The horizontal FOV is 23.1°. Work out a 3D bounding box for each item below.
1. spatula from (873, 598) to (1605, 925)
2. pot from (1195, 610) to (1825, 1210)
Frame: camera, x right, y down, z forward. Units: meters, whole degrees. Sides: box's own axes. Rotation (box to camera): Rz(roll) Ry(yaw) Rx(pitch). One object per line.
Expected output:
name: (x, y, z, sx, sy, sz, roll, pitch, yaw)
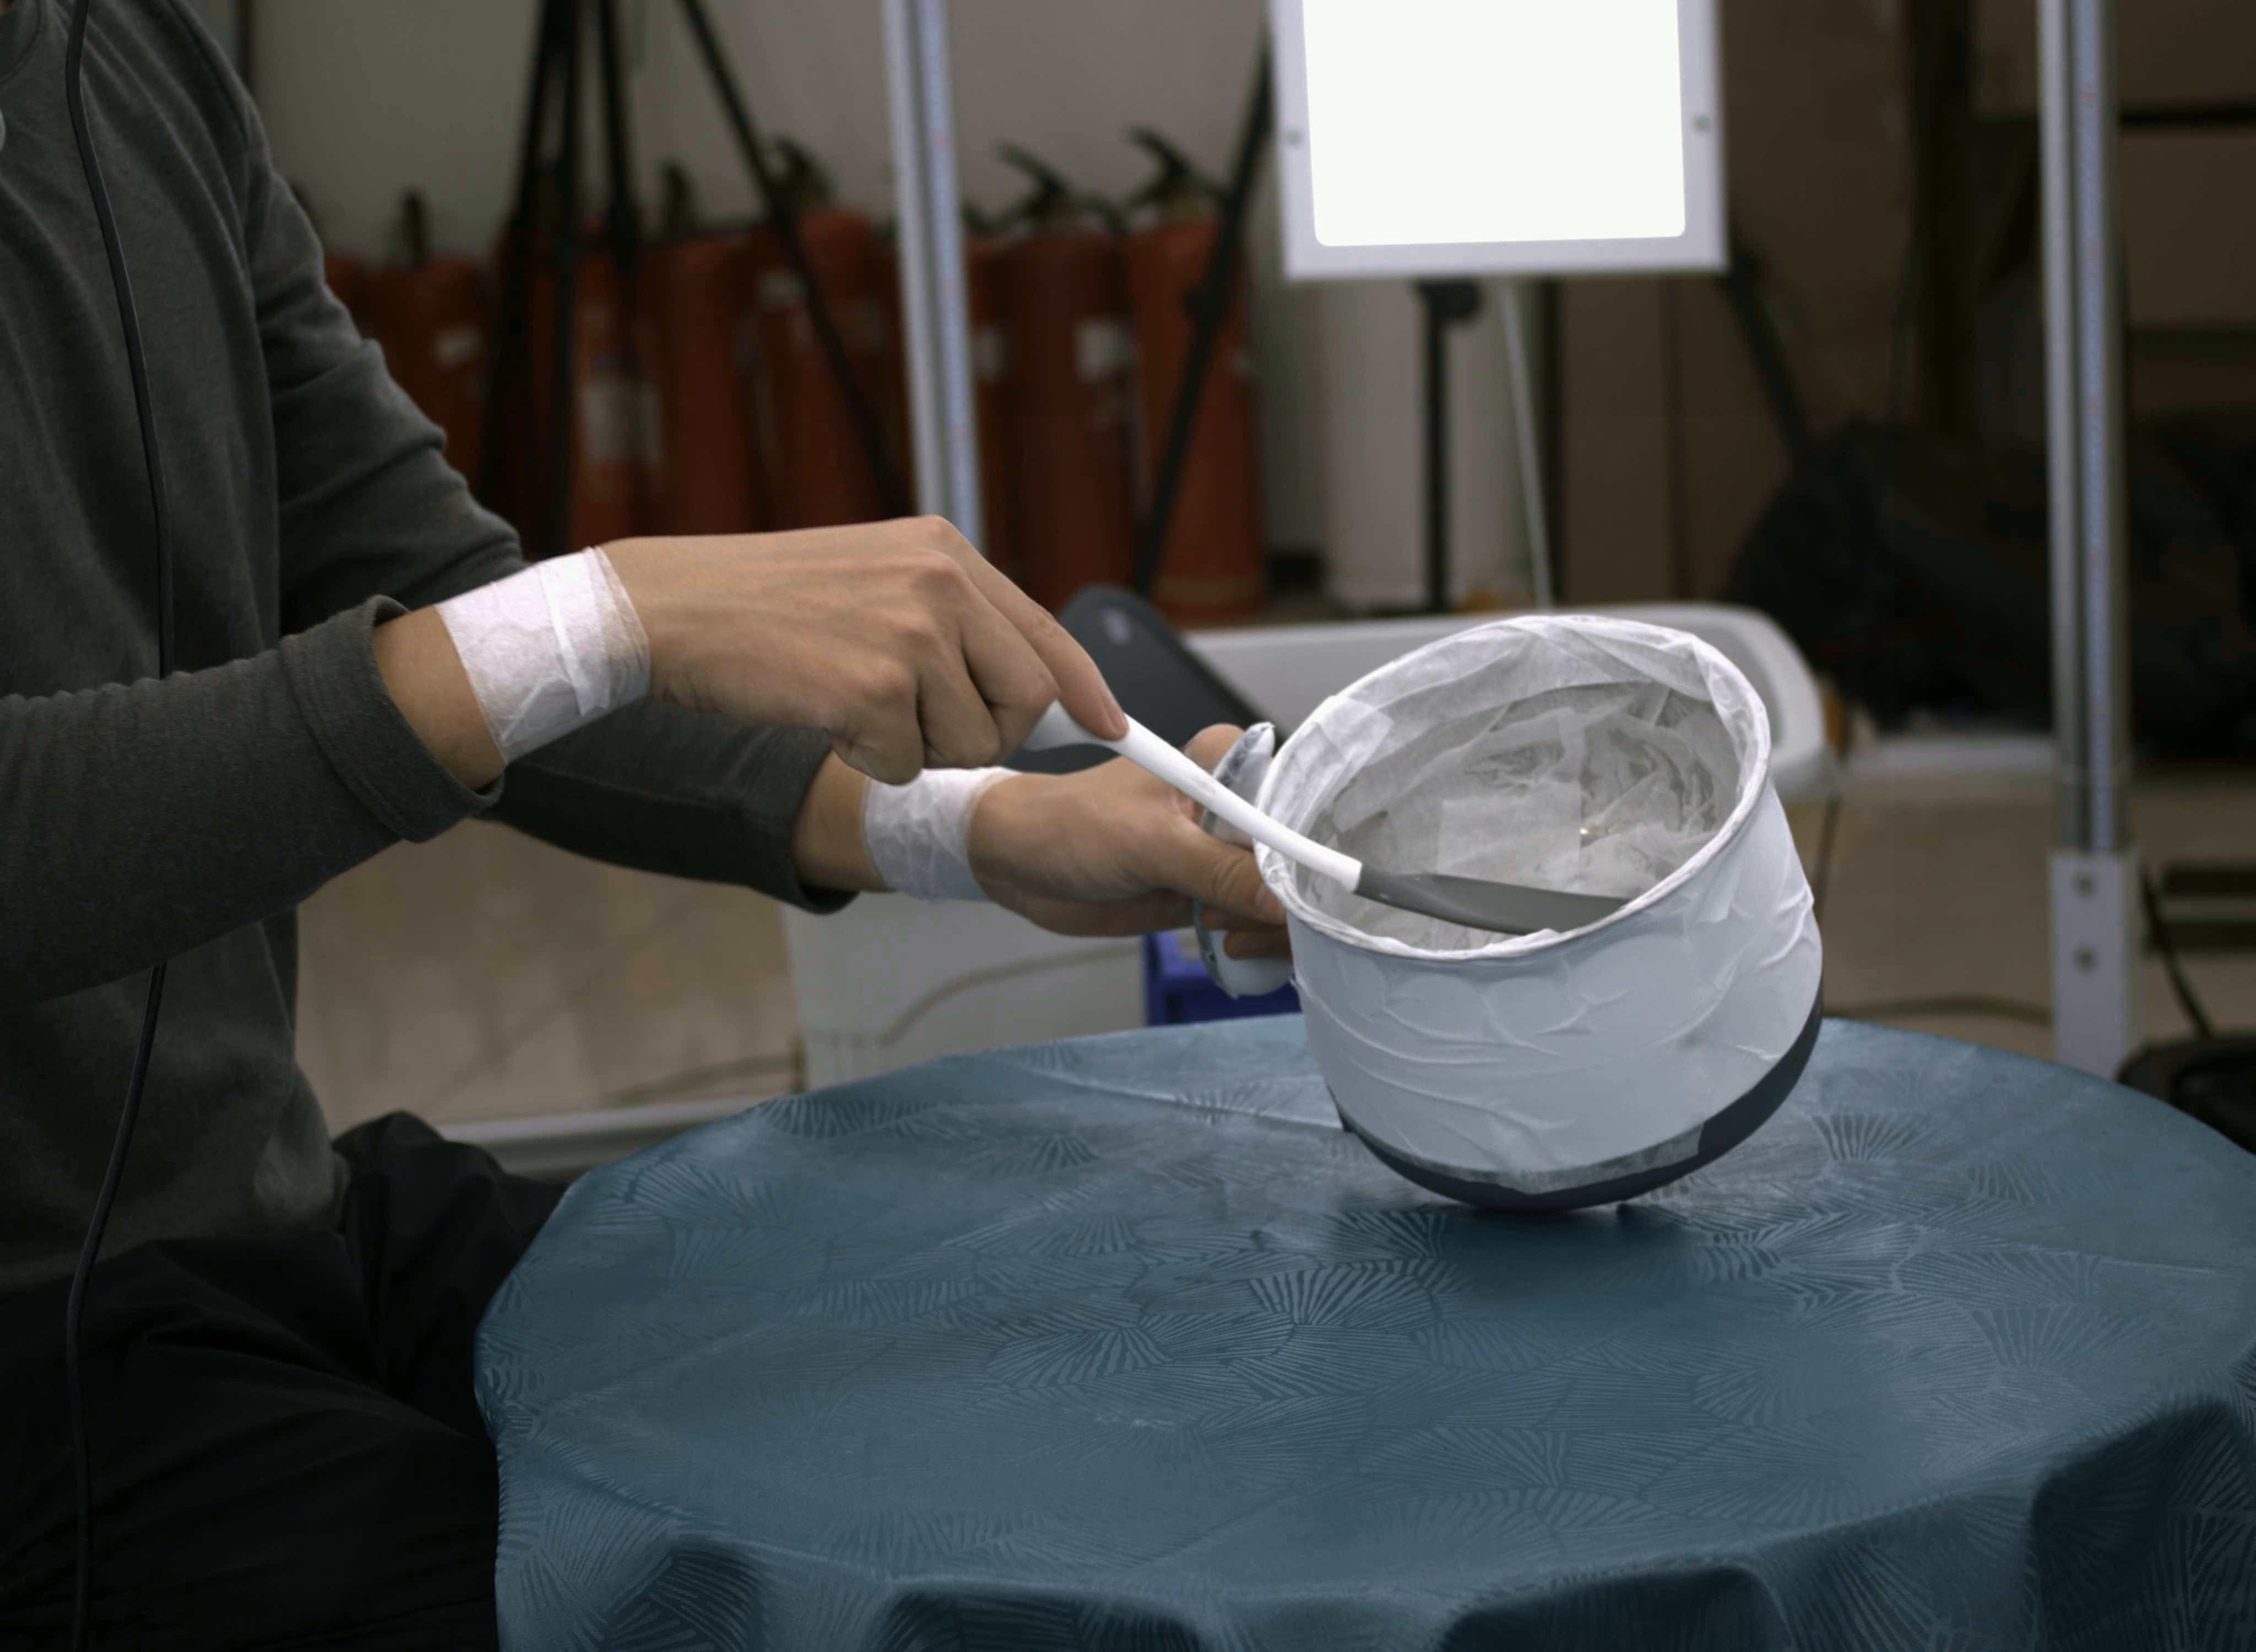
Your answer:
spatula: (0.047, -0.008, 1.779, 0.283, 0.032, 0.059, 22, 7, -23)
pot: (0.120, 0.028, 1.874, 0.238, 0.136, 0.175, 9, 45, 33)
